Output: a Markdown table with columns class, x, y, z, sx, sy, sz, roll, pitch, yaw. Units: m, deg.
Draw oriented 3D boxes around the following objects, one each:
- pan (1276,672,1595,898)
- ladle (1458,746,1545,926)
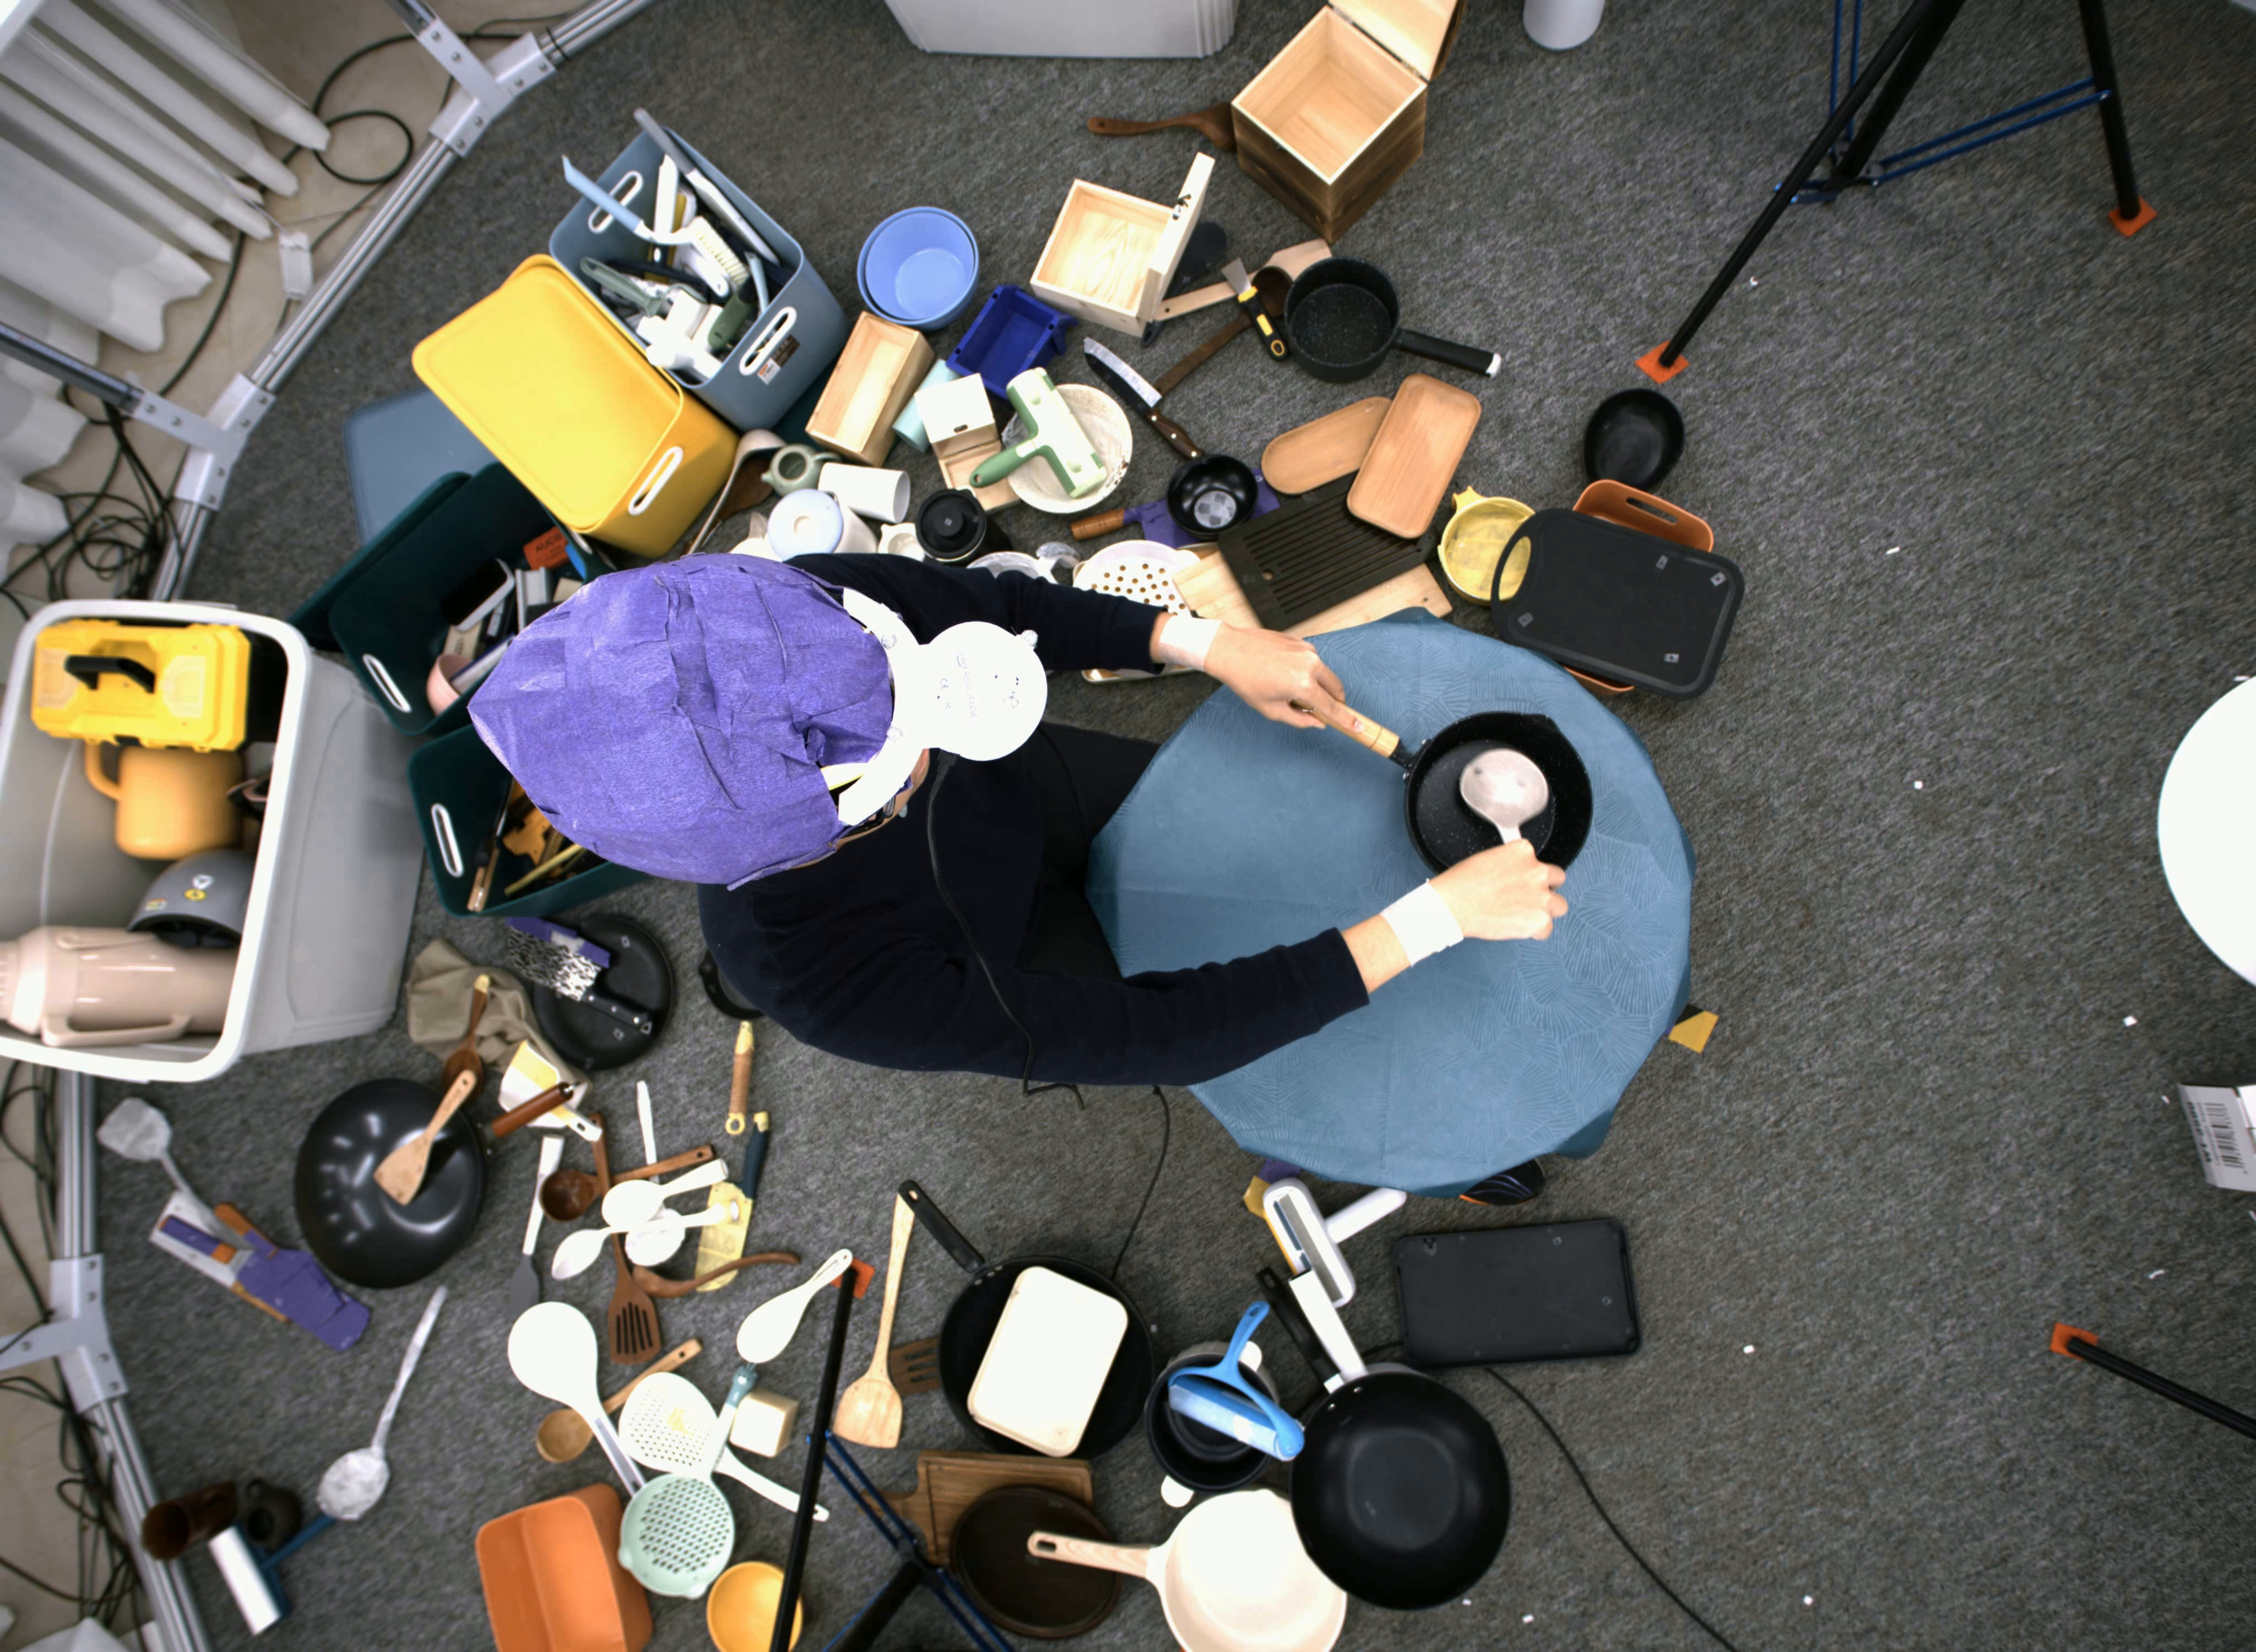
| class | x | y | z | sx | sy | sz | roll | pitch | yaw |
| --- | --- | --- | --- | --- | --- | --- | --- | --- | --- |
| pan | 0.300 | -0.059 | 1.393 | 0.343 | 0.108 | 0.208 | 28 | 93 | 4 |
| ladle | 0.370 | 0.000 | 1.311 | 0.089 | 0.269 | 0.071 | 11 | 115 | 3 |
